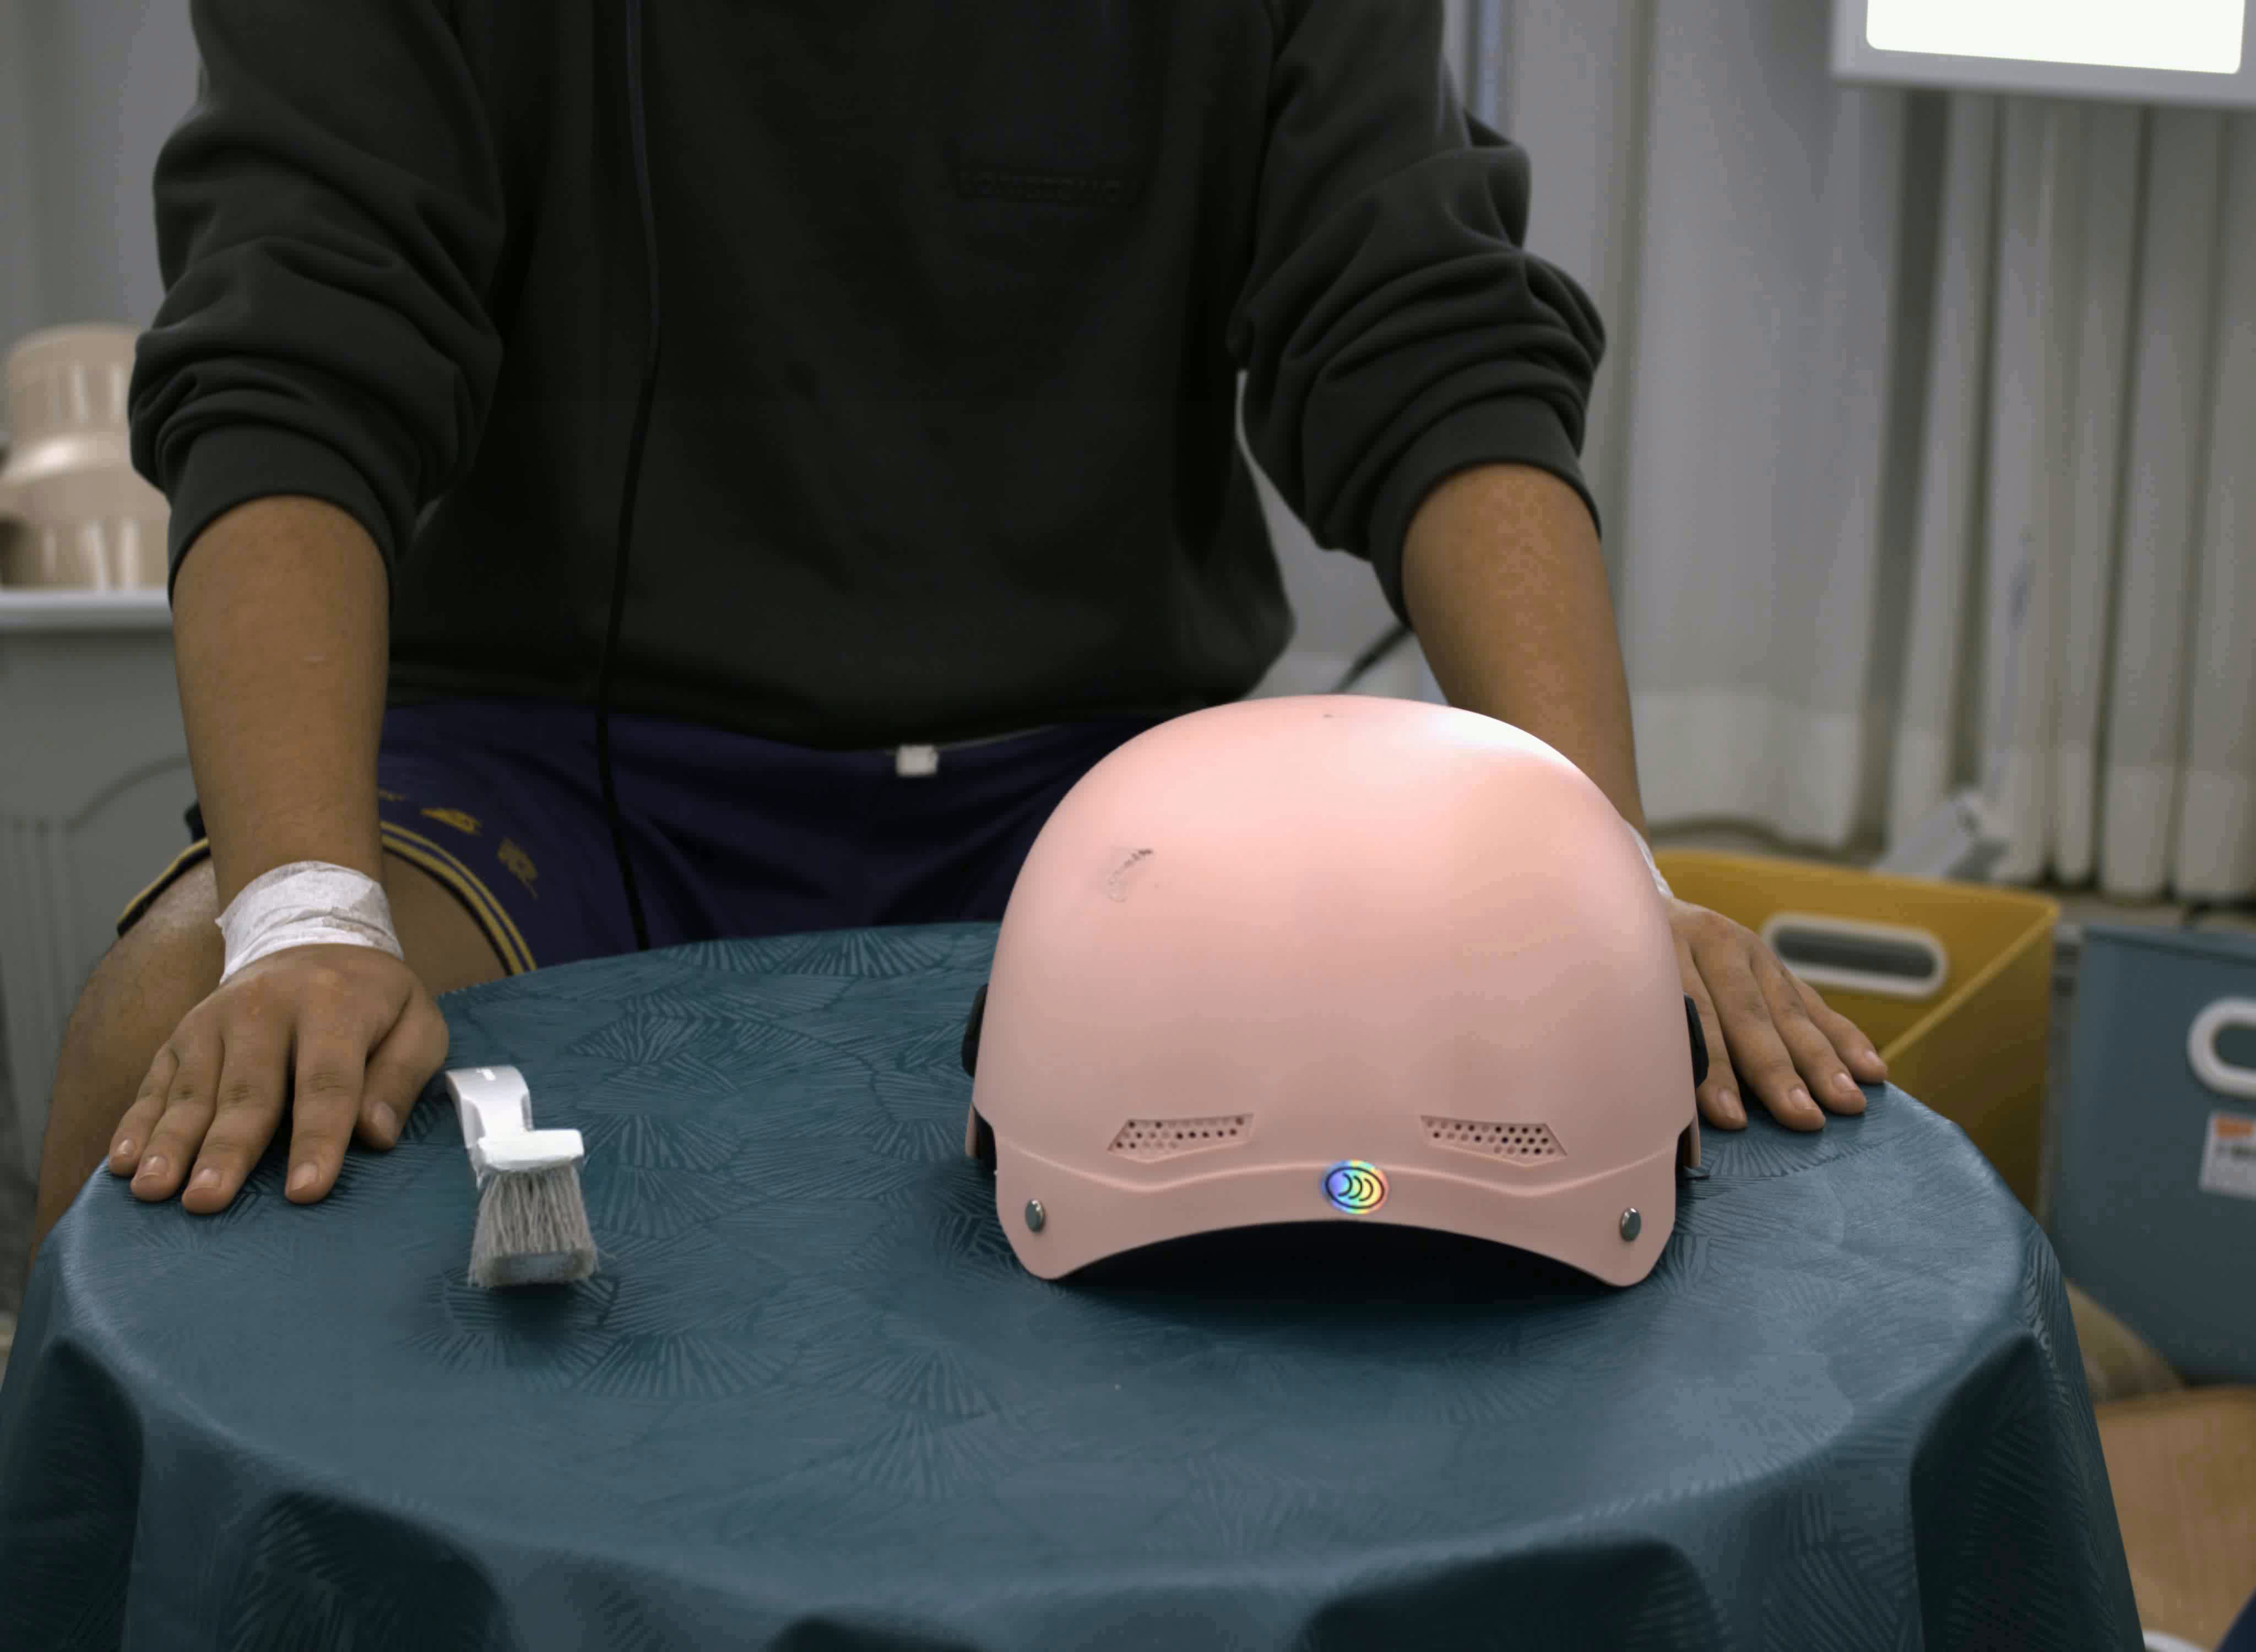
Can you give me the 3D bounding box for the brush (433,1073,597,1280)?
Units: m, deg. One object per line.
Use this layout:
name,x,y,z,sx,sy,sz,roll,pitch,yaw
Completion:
brush,-0.190,0.106,1.598,0.034,0.050,0.242,-7,3,-11

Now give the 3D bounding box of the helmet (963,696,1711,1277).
helmet,0.064,0.037,1.614,0.233,0.160,0.265,0,11,1
